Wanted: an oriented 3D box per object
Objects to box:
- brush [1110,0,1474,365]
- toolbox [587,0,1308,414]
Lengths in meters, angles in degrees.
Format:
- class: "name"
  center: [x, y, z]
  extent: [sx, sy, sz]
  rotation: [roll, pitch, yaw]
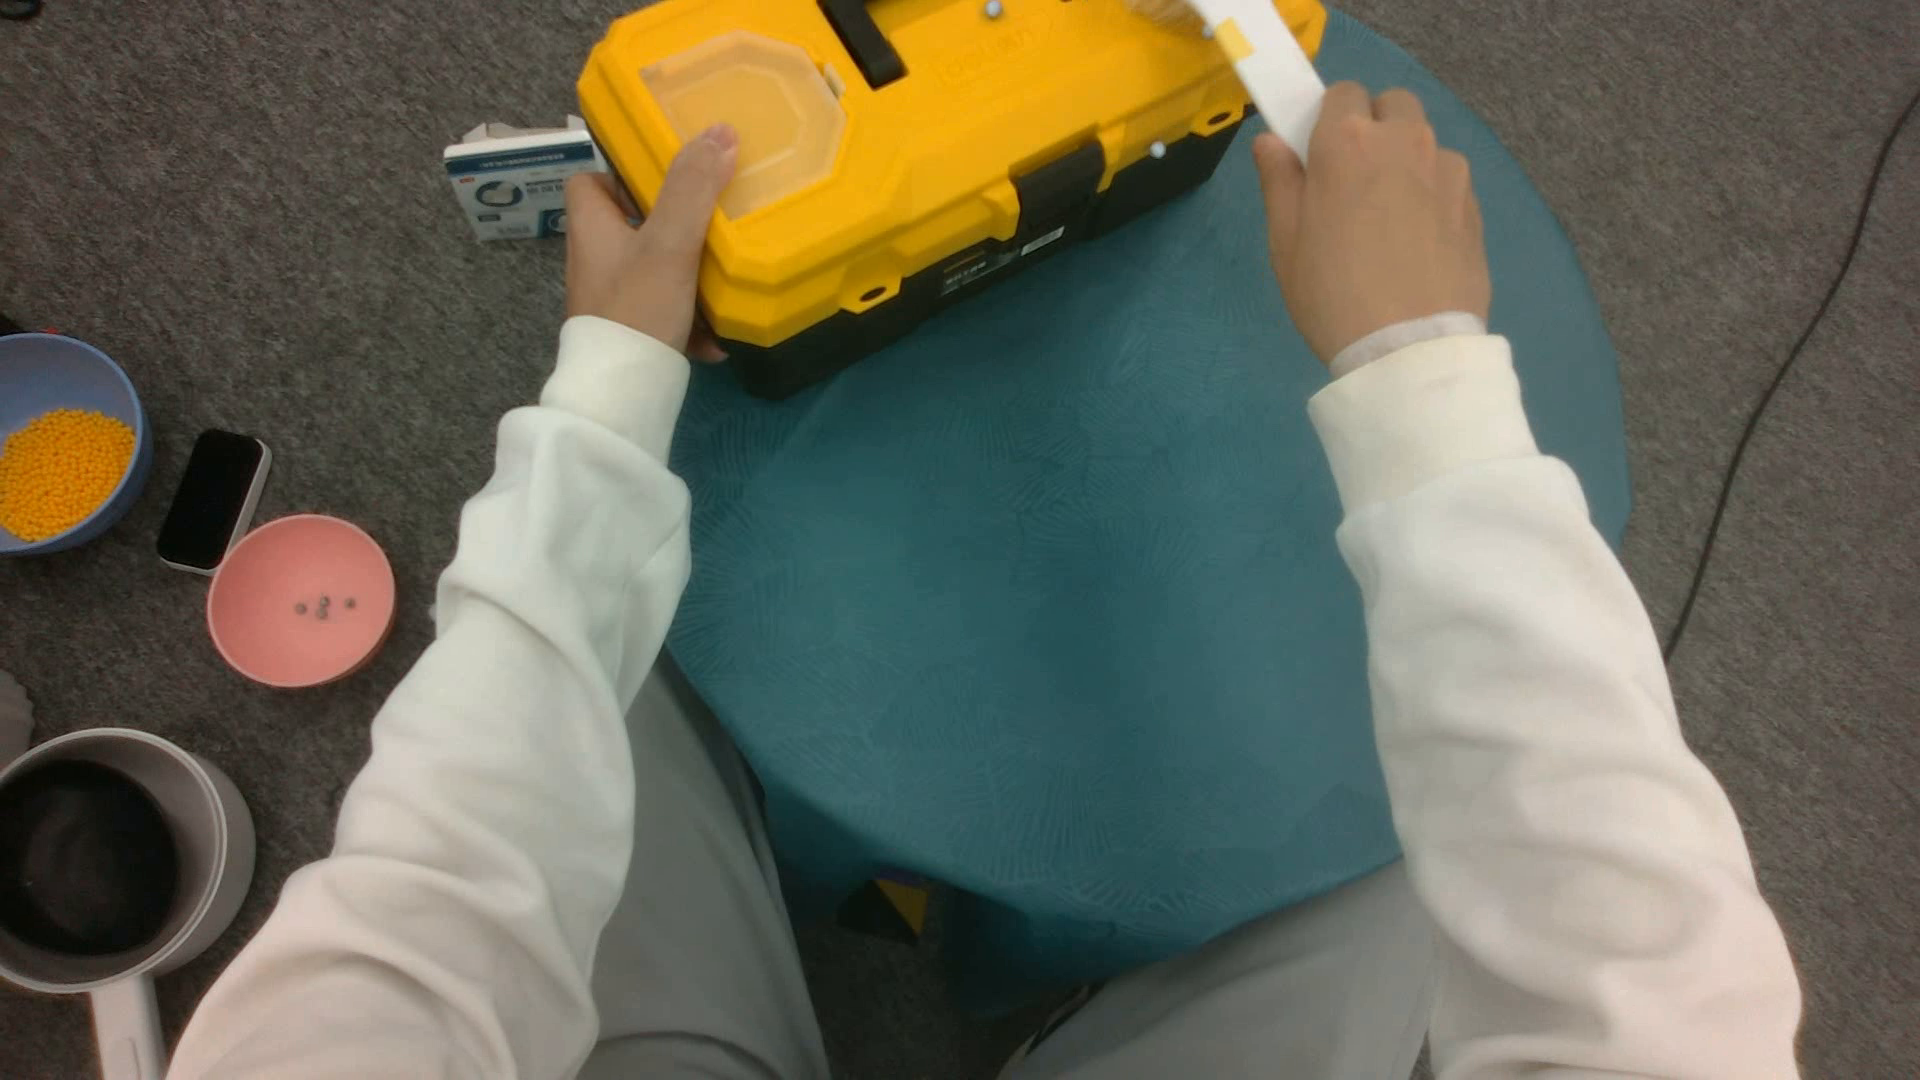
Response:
- class: "brush"
  center: [0.148, -0.188, 0.629]
  extent: [0.068, 0.056, 0.267]
  rotation: [-29, 80, 3]
- class: "toolbox"
  center: [-0.003, -0.218, 0.743]
  extent: [0.352, 0.172, 0.181]
  rotation: [-31, 78, -13]
